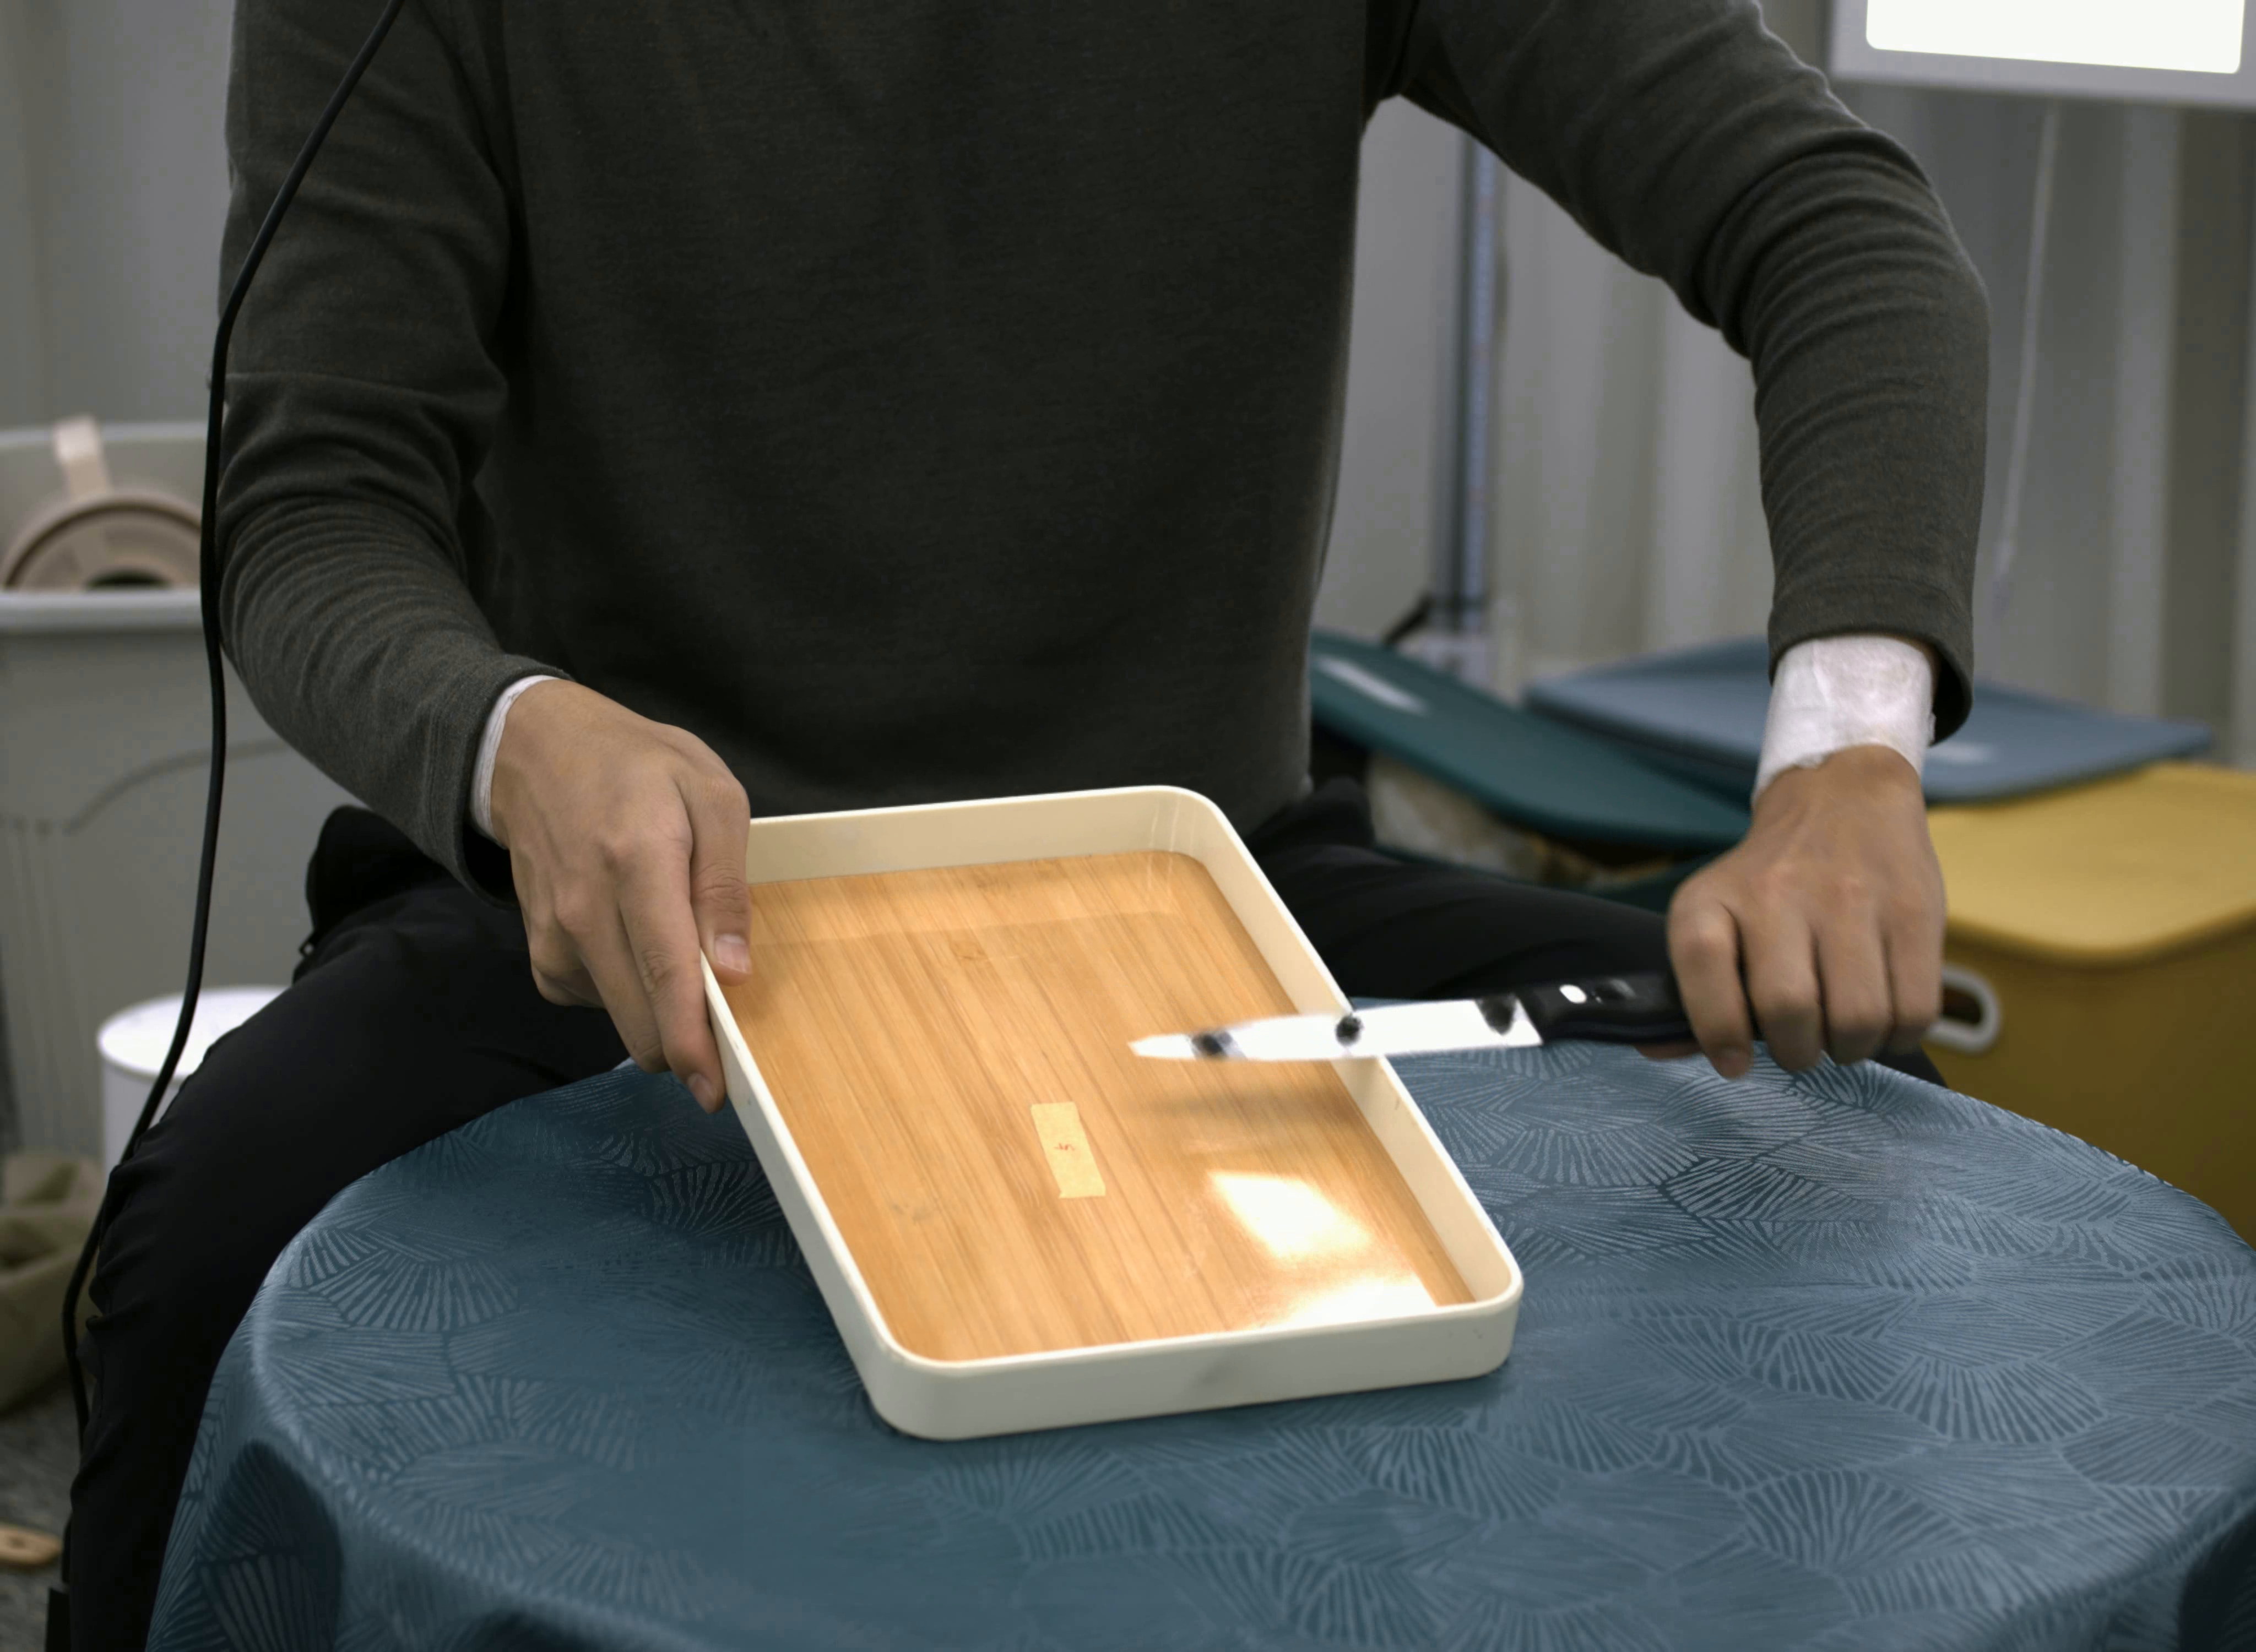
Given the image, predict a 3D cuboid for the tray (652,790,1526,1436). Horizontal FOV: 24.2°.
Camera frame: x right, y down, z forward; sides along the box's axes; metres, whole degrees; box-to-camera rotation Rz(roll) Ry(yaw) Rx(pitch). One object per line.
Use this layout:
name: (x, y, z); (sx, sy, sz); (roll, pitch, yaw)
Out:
tray: (-0.019, 0.077, 1.562); (0.192, 0.027, 0.296); (-3, 31, -19)

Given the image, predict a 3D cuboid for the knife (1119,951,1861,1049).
knife: (0.110, 0.054, 1.598); (0.238, 0.016, 0.024); (-4, 32, -17)
